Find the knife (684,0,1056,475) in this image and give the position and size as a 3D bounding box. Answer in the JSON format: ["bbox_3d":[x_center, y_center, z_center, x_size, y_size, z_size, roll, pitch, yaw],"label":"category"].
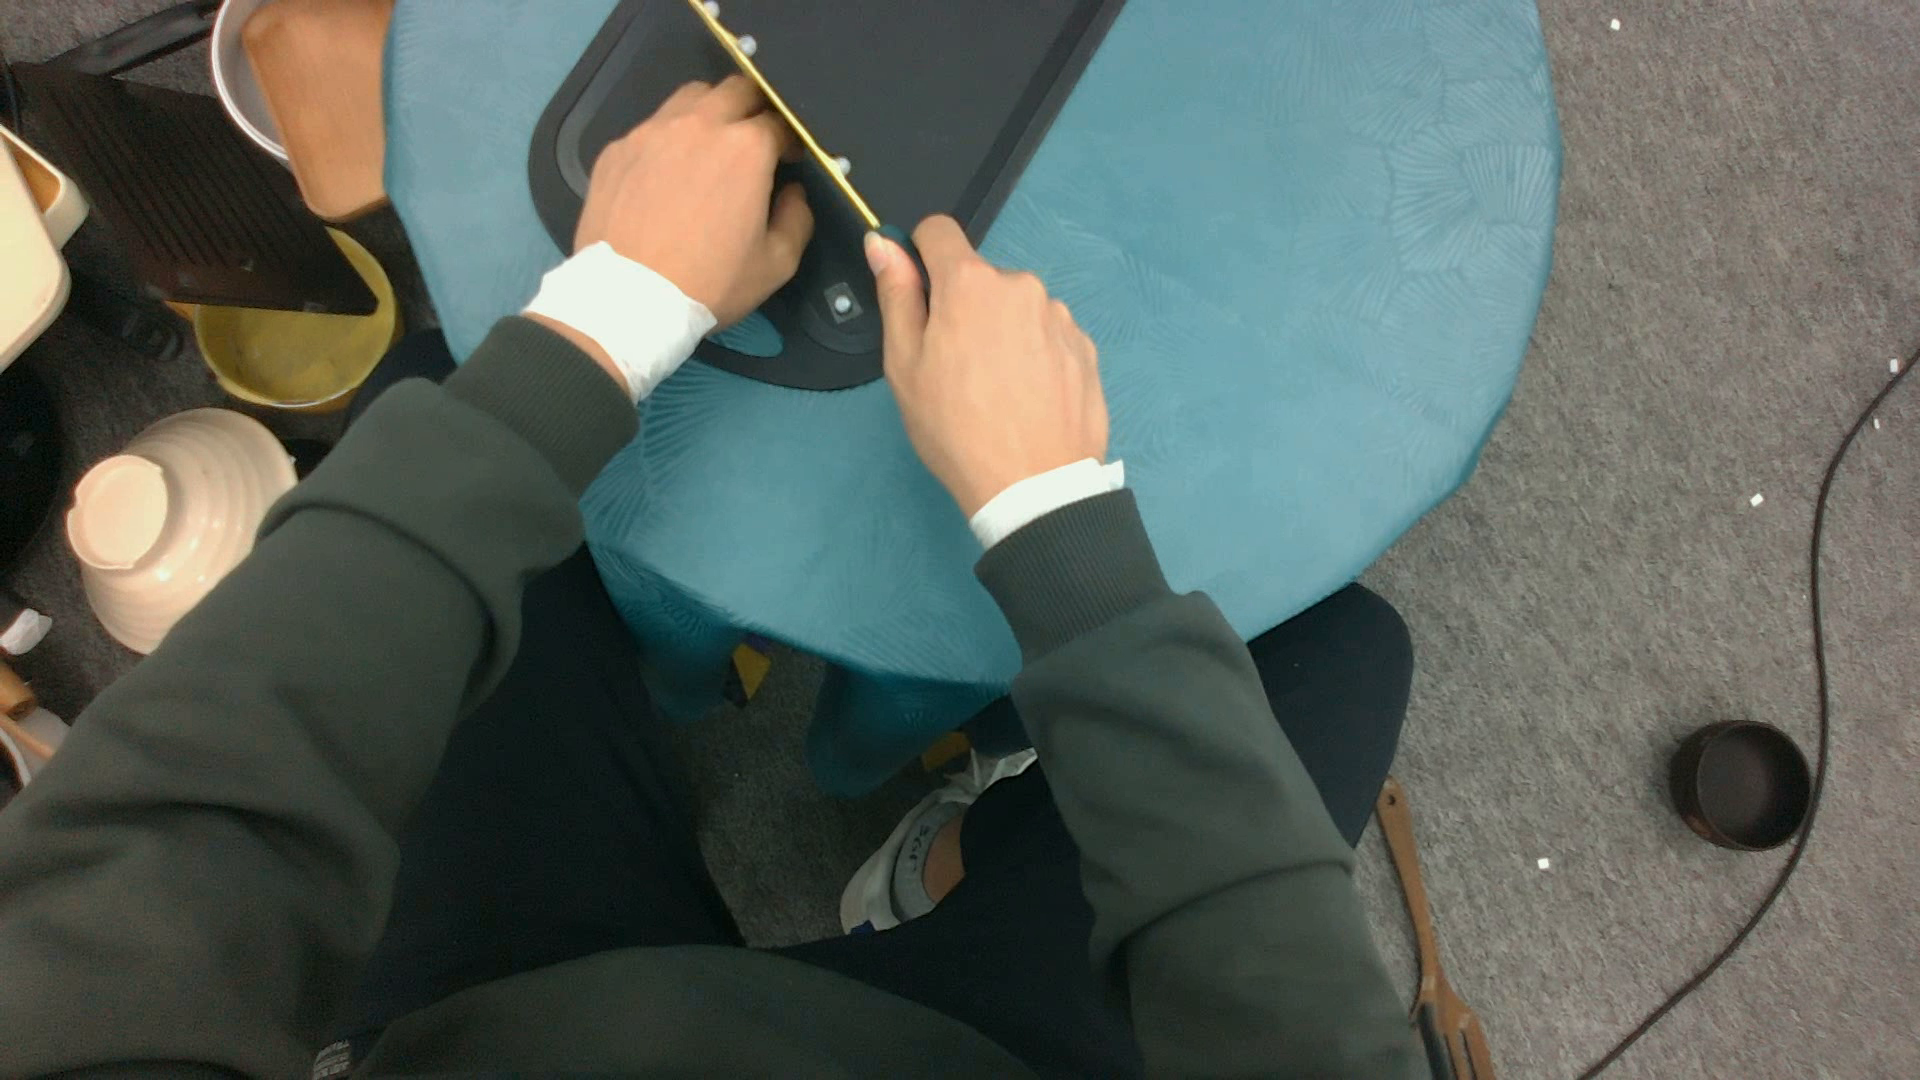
[{"bbox_3d":[-0.048,-0.147,0.632,0.027,0.081,0.289,-37,84,6],"label":"knife"}]

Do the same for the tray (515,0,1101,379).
[{"bbox_3d":[-0.069,-0.239,0.687,0.211,0.010,0.326,30,78,-4],"label":"tray"}]
